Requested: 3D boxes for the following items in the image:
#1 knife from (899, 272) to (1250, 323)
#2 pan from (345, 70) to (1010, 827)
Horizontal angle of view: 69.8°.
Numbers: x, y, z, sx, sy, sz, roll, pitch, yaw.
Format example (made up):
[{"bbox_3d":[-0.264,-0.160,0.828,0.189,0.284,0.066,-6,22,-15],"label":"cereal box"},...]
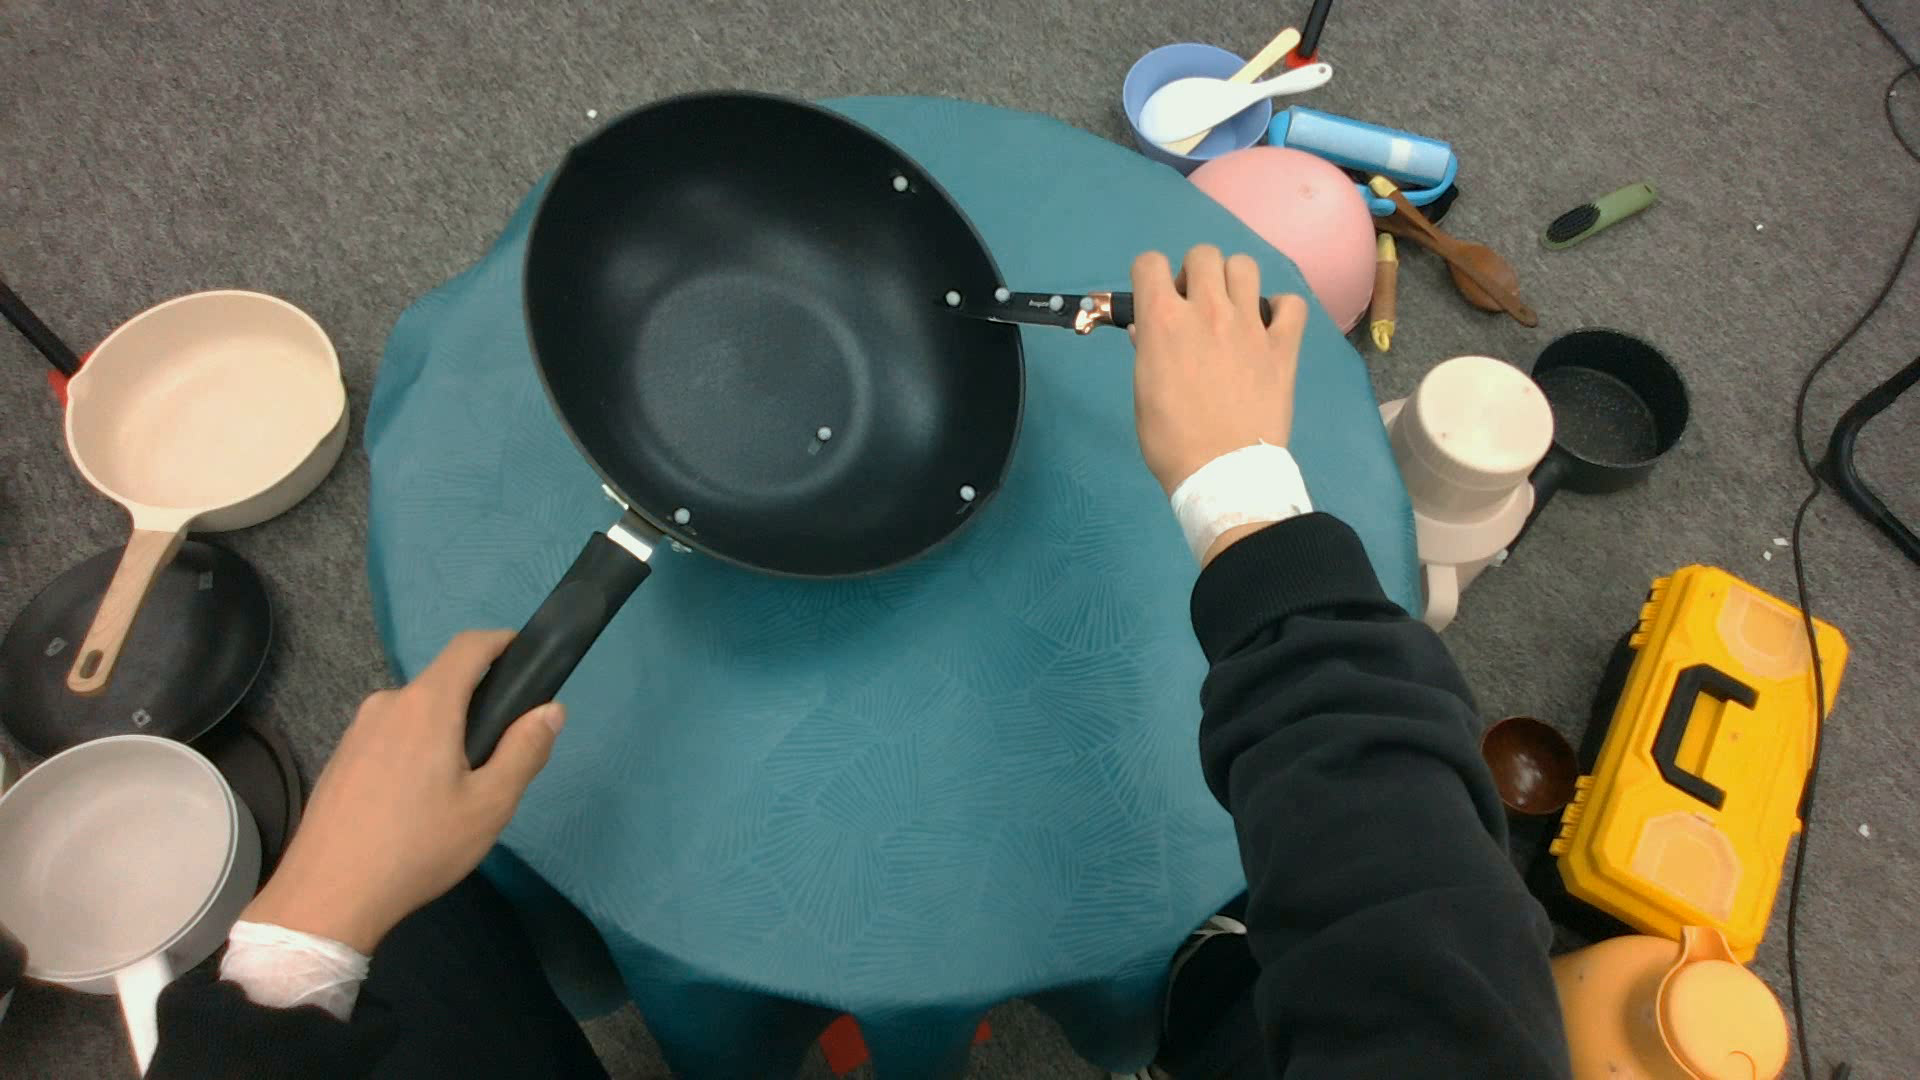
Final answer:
[{"bbox_3d":[0.056,-0.135,0.763,0.225,0.017,0.026,10,80,36],"label":"knife"},{"bbox_3d":[-0.155,-0.046,0.724,0.288,0.086,0.465,37,61,-13],"label":"pan"}]
